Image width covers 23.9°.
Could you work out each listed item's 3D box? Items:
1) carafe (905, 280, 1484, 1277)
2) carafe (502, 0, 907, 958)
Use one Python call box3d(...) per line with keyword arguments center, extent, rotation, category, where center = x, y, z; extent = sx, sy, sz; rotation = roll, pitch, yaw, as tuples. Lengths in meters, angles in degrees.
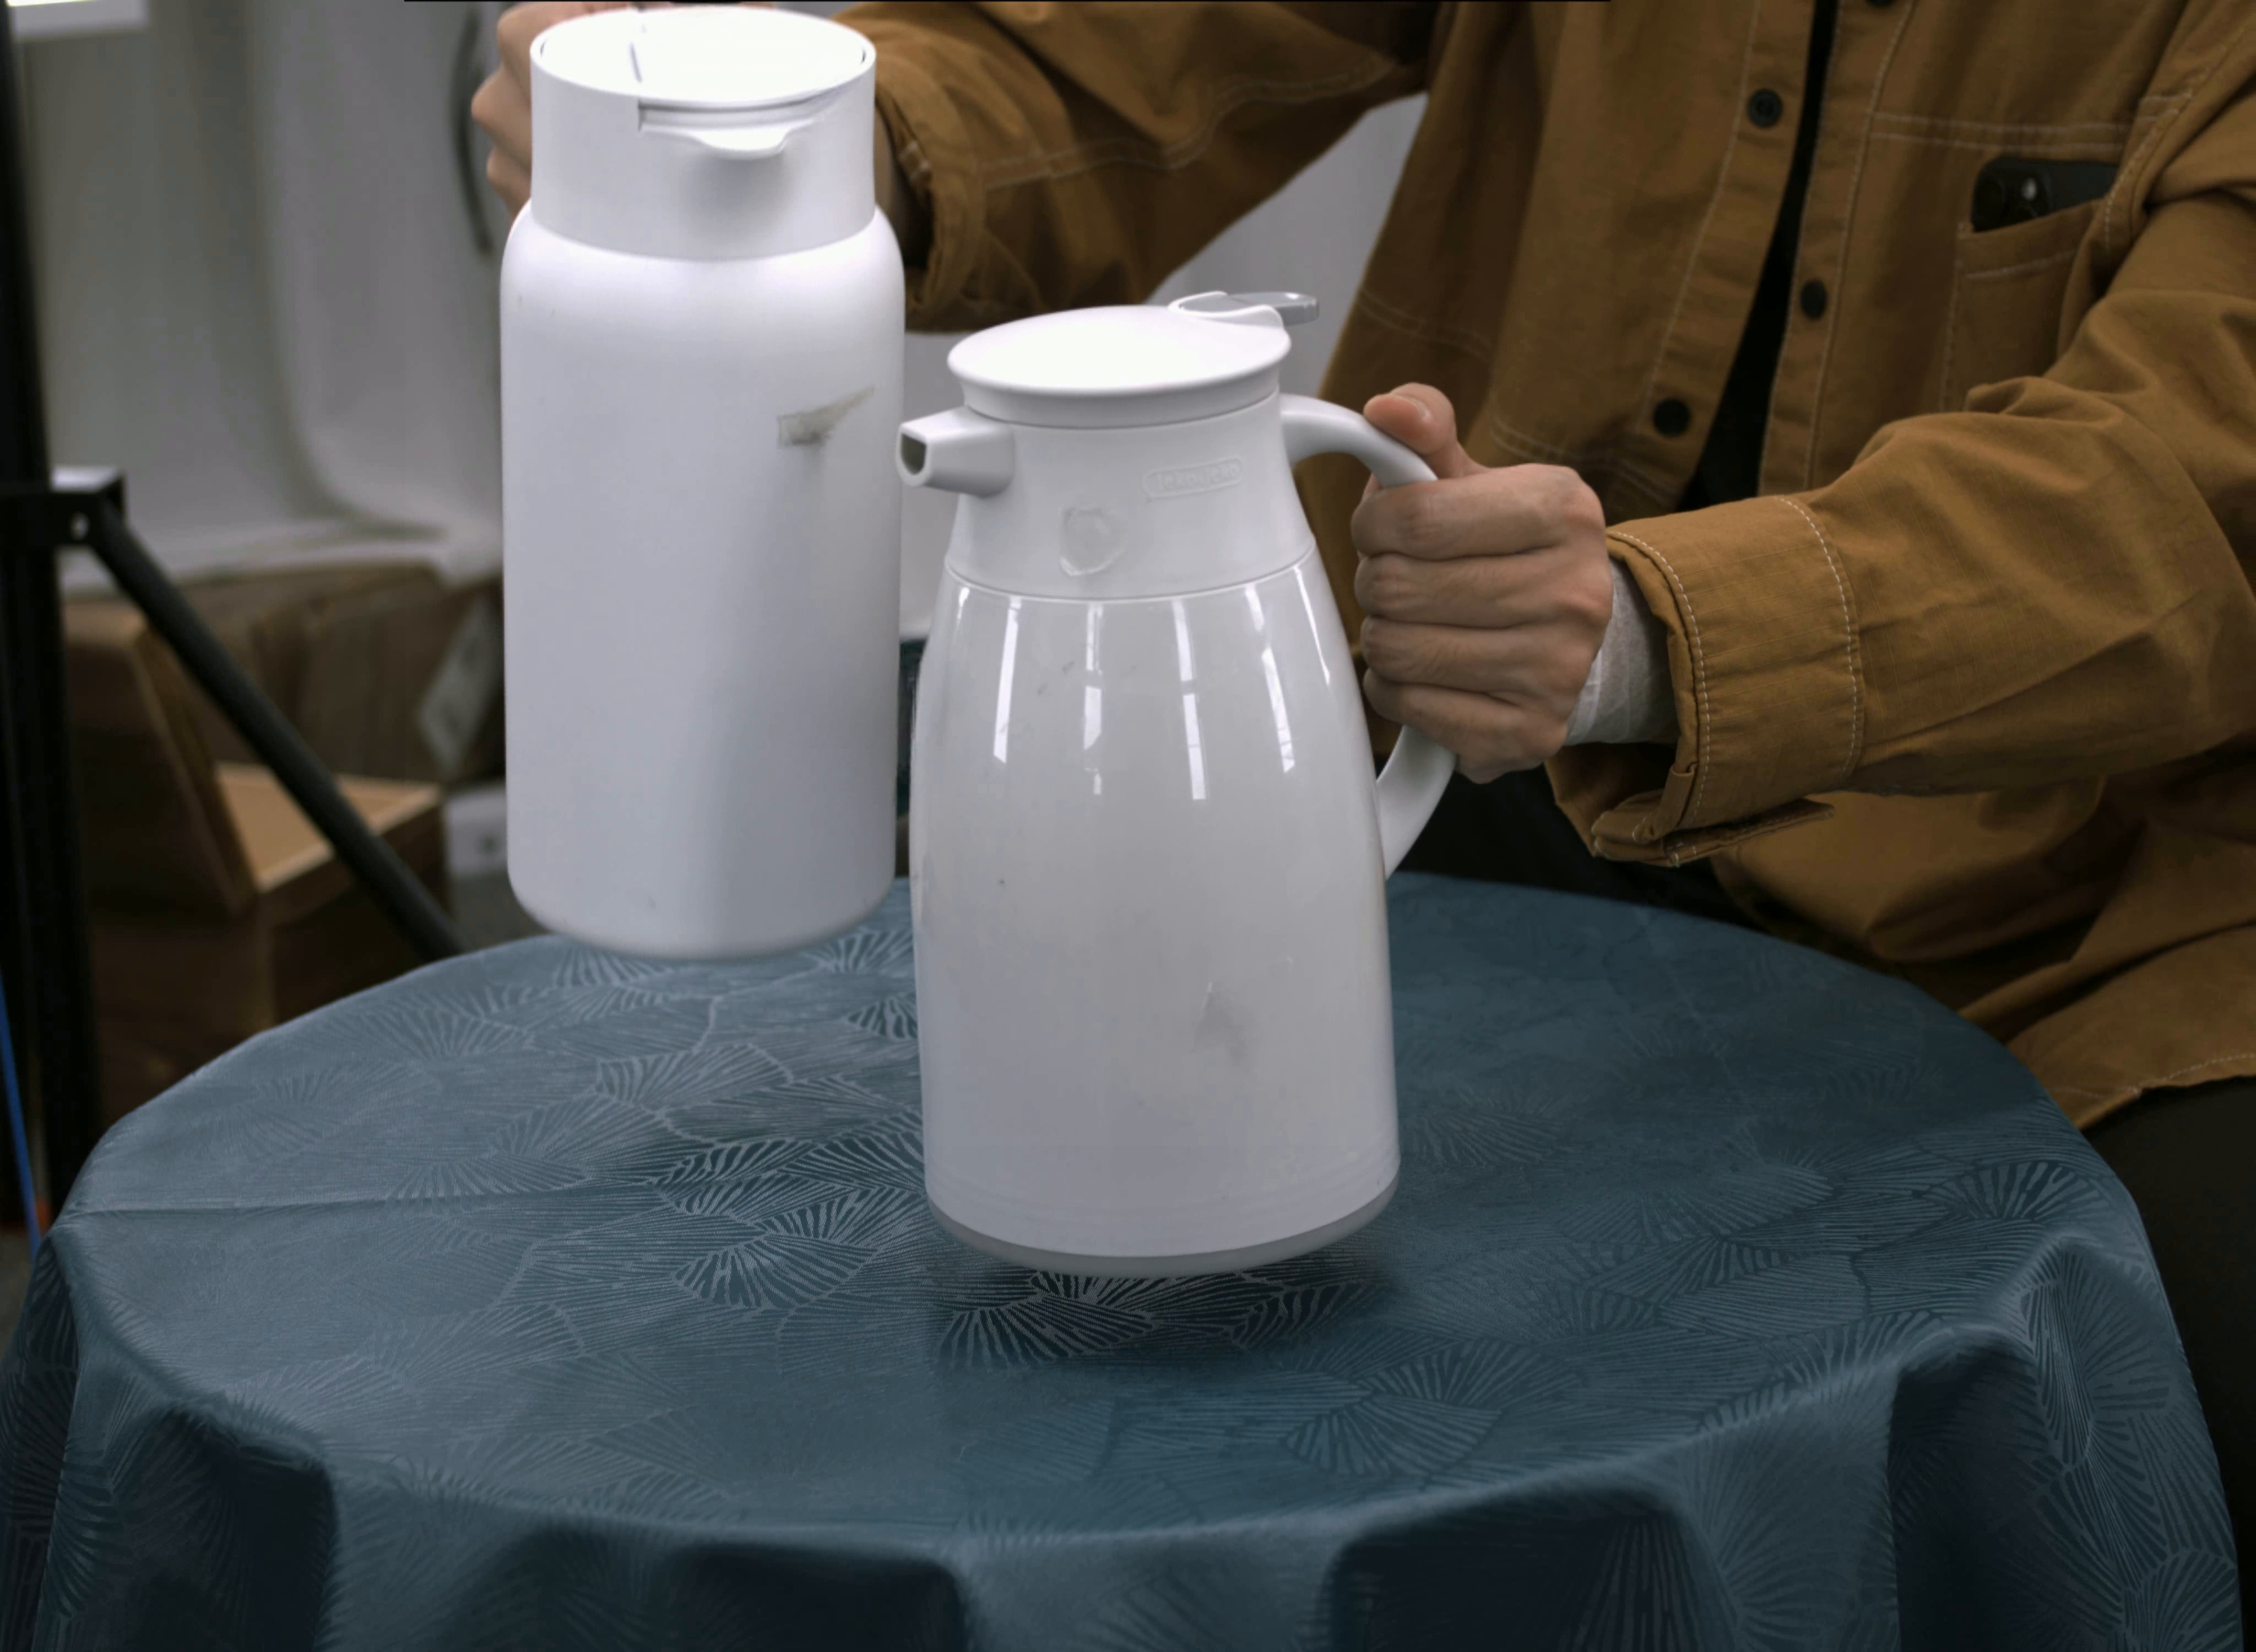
box3d(center=(0.021, -0.021, 1.441), extent=(0.164, 0.248, 0.135), rotation=(-10, 19, -25), category="carafe")
box3d(center=(-0.131, -0.110, 1.577), extent=(0.122, 0.268, 0.176), rotation=(-6, 24, -15), category="carafe")
